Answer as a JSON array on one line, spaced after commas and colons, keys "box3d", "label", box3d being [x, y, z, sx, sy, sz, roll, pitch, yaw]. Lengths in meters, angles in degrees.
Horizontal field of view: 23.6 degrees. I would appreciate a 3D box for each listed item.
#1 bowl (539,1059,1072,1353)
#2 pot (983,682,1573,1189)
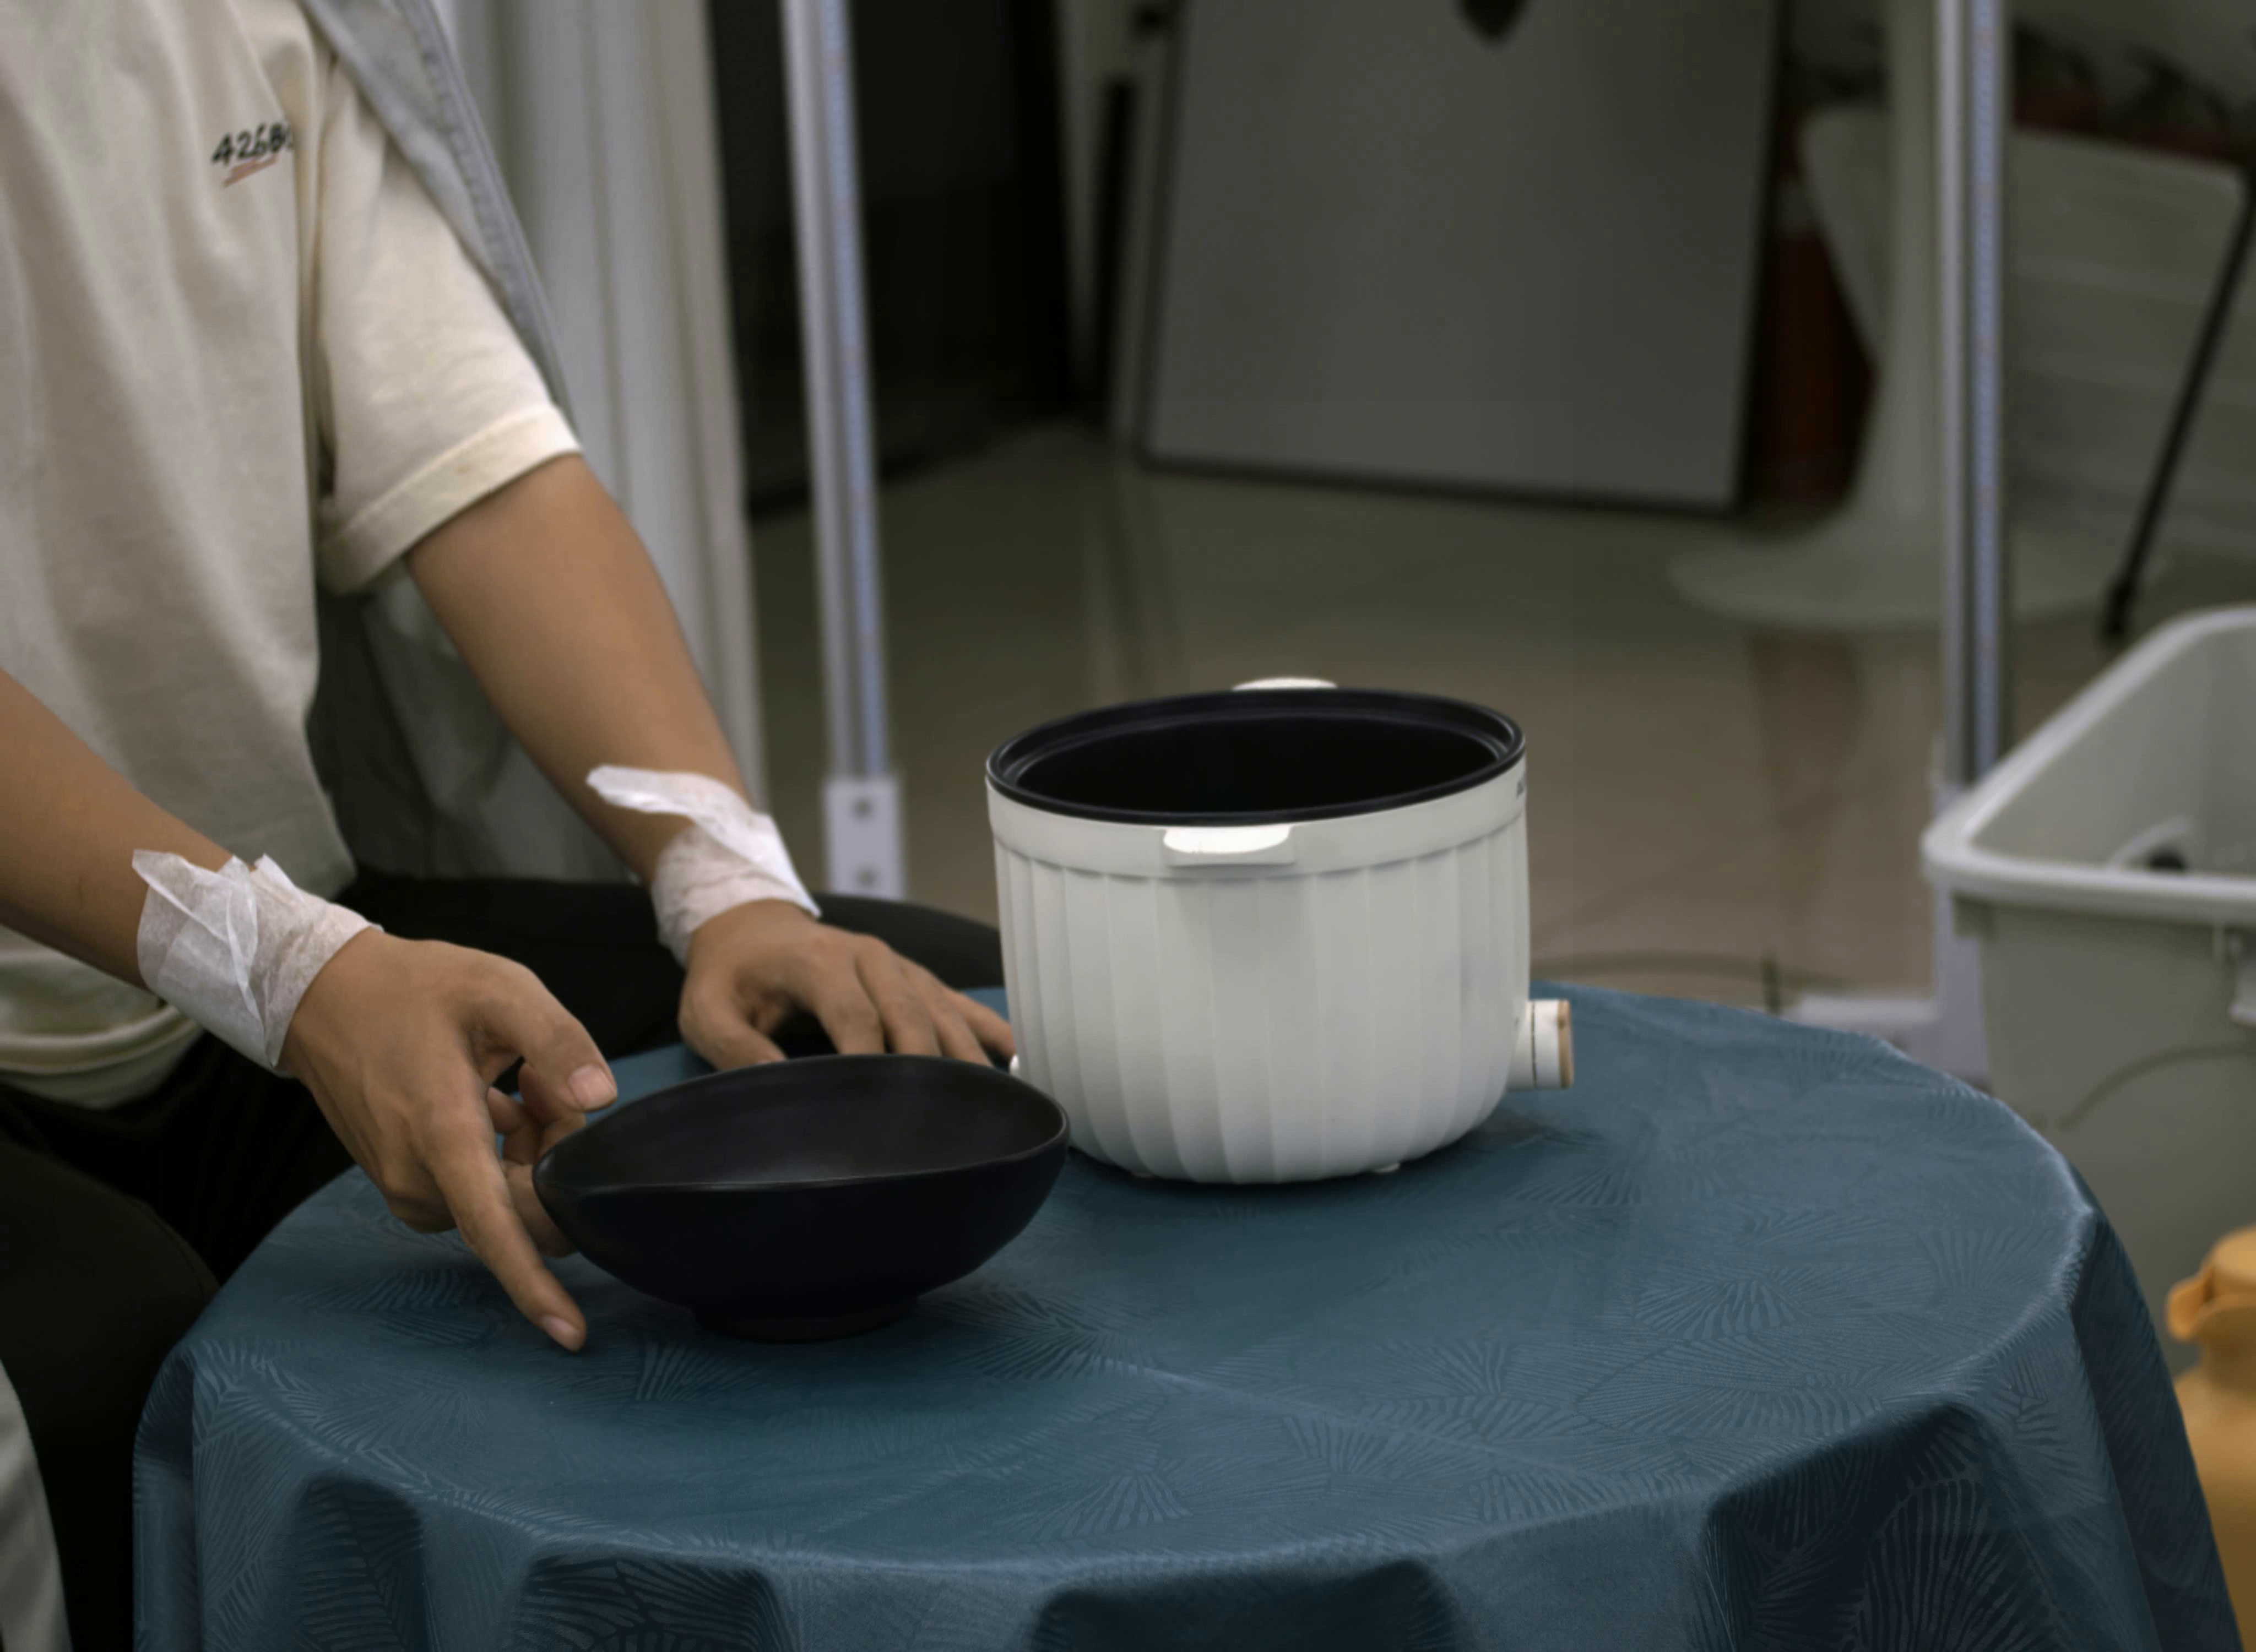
[{"box3d": [-0.099, 0.122, 1.669, 0.169, 0.067, 0.137, -3, 12, 8], "label": "bowl"}, {"box3d": [0.051, 0.038, 1.808, 0.189, 0.144, 0.240, -5, 14, 8], "label": "pot"}]
